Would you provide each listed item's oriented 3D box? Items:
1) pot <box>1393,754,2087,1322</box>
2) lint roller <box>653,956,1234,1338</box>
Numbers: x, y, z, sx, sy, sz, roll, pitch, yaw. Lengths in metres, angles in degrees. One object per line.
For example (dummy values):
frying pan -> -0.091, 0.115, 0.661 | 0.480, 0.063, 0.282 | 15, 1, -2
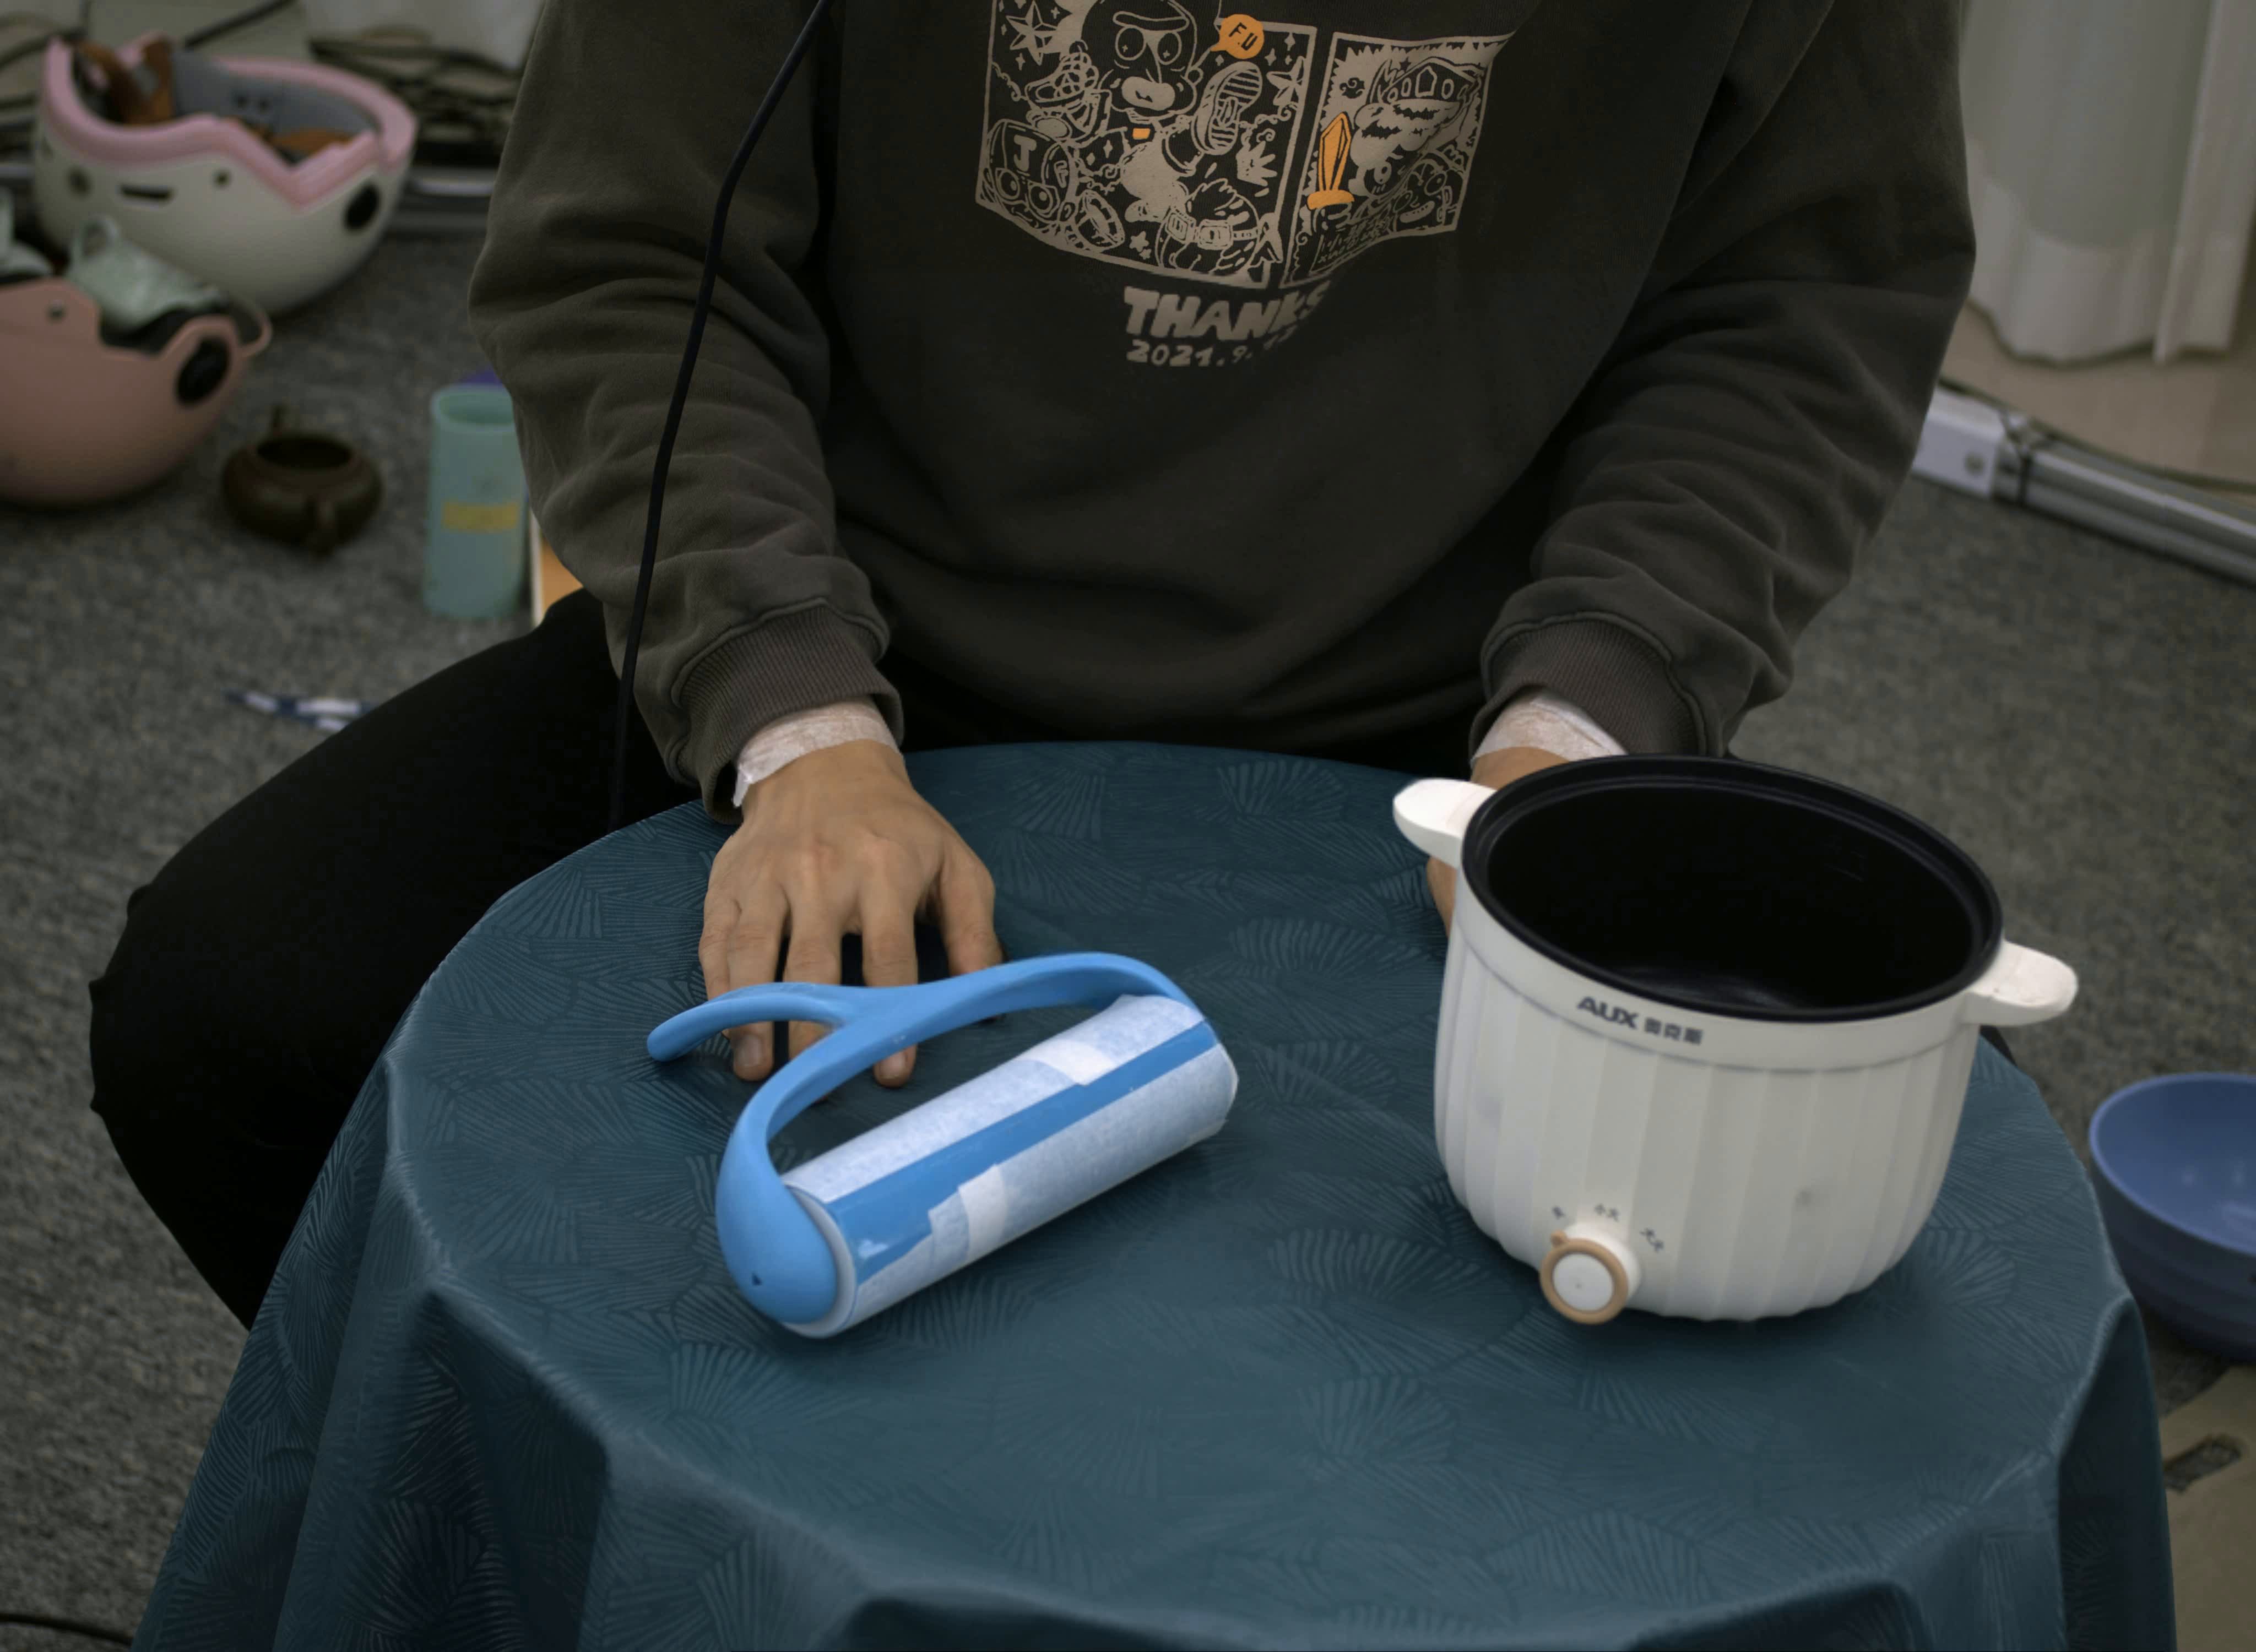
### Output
pot -> 0.193, 0.078, 1.784 | 0.241, 0.142, 0.190 | 15, 24, 20
lint roller -> -0.091, 0.088, 1.790 | 0.181, 0.068, 0.228 | 25, 33, 30
